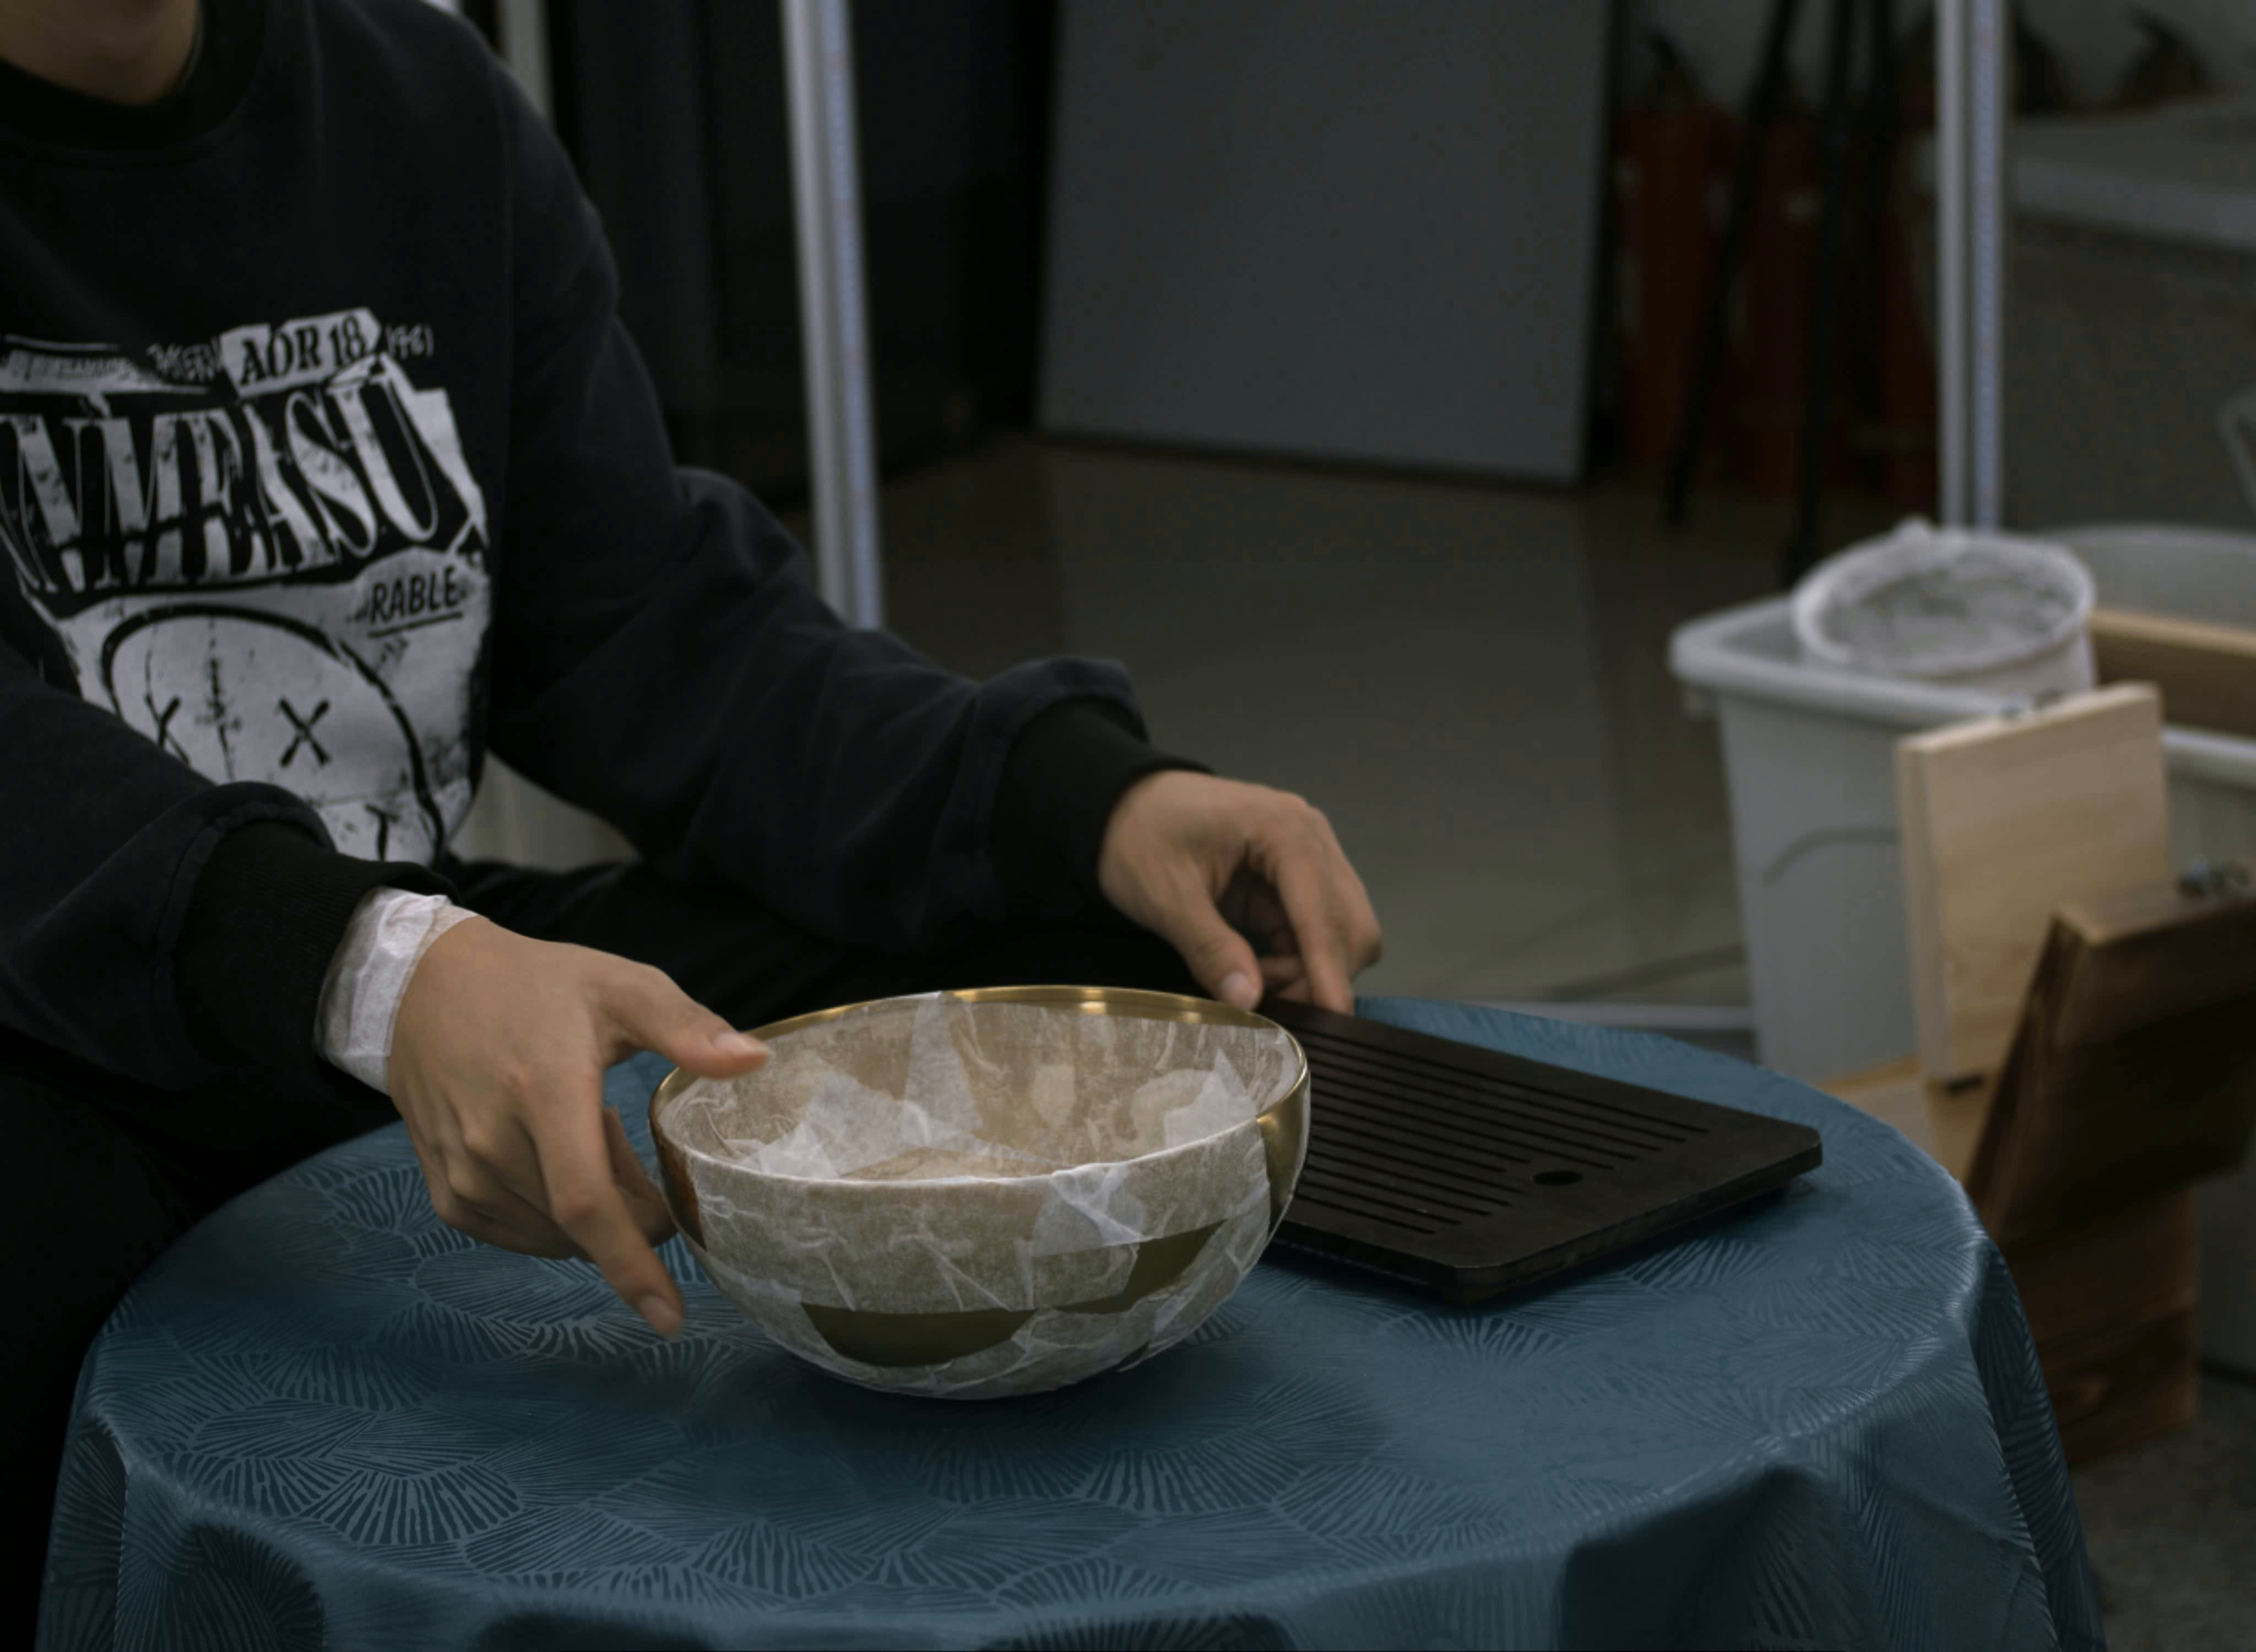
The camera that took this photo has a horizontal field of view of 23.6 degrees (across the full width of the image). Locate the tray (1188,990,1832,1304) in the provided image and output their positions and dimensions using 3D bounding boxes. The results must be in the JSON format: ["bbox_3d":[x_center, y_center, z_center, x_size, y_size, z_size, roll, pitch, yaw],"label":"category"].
[{"bbox_3d":[0.070,0.103,1.787,0.166,0.019,0.309,-16,18,-39],"label":"tray"}]

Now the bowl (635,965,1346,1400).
[{"bbox_3d":[-0.039,0.115,1.611,0.212,0.095,0.215,-5,14,0],"label":"bowl"}]
